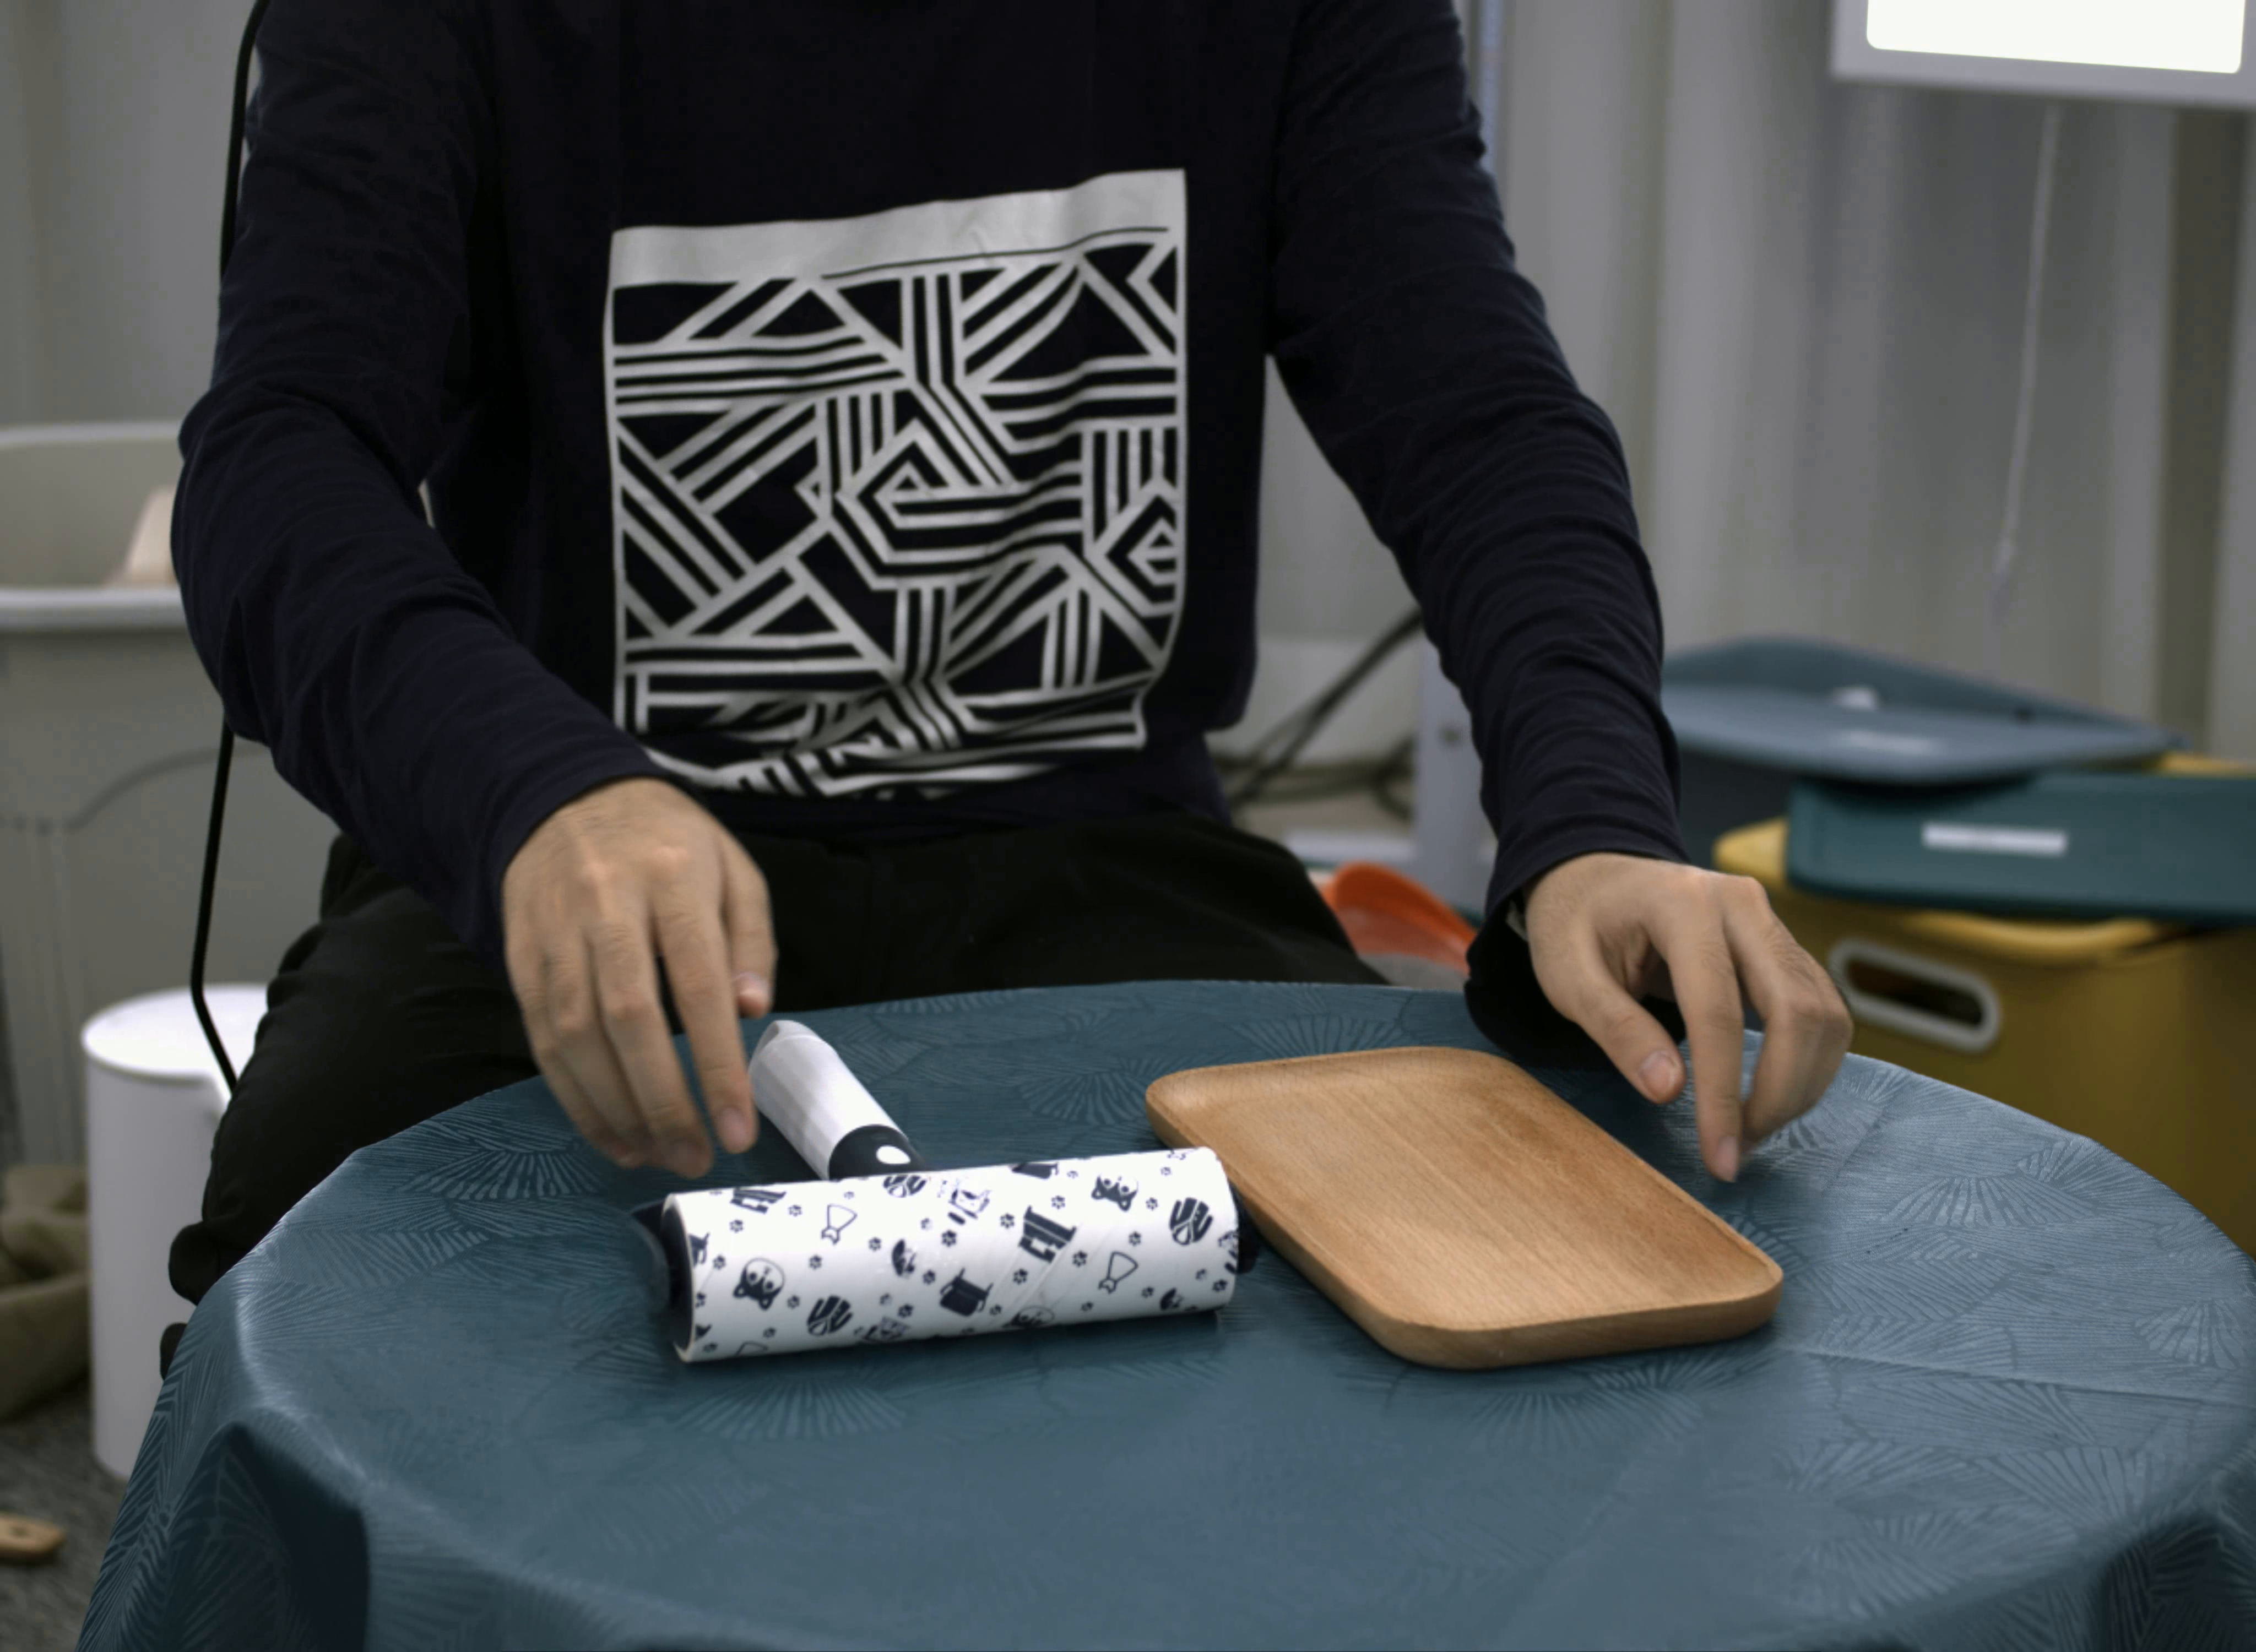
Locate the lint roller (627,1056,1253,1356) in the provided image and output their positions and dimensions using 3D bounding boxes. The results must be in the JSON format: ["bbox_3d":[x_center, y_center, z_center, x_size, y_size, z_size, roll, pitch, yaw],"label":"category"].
[{"bbox_3d":[-0.082,0.100,1.593,0.176,0.051,0.244,-5,13,-17],"label":"lint roller"}]

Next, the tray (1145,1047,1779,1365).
[{"bbox_3d":[0.096,0.112,1.599,0.131,0.023,0.248,-1,14,-18],"label":"tray"}]
